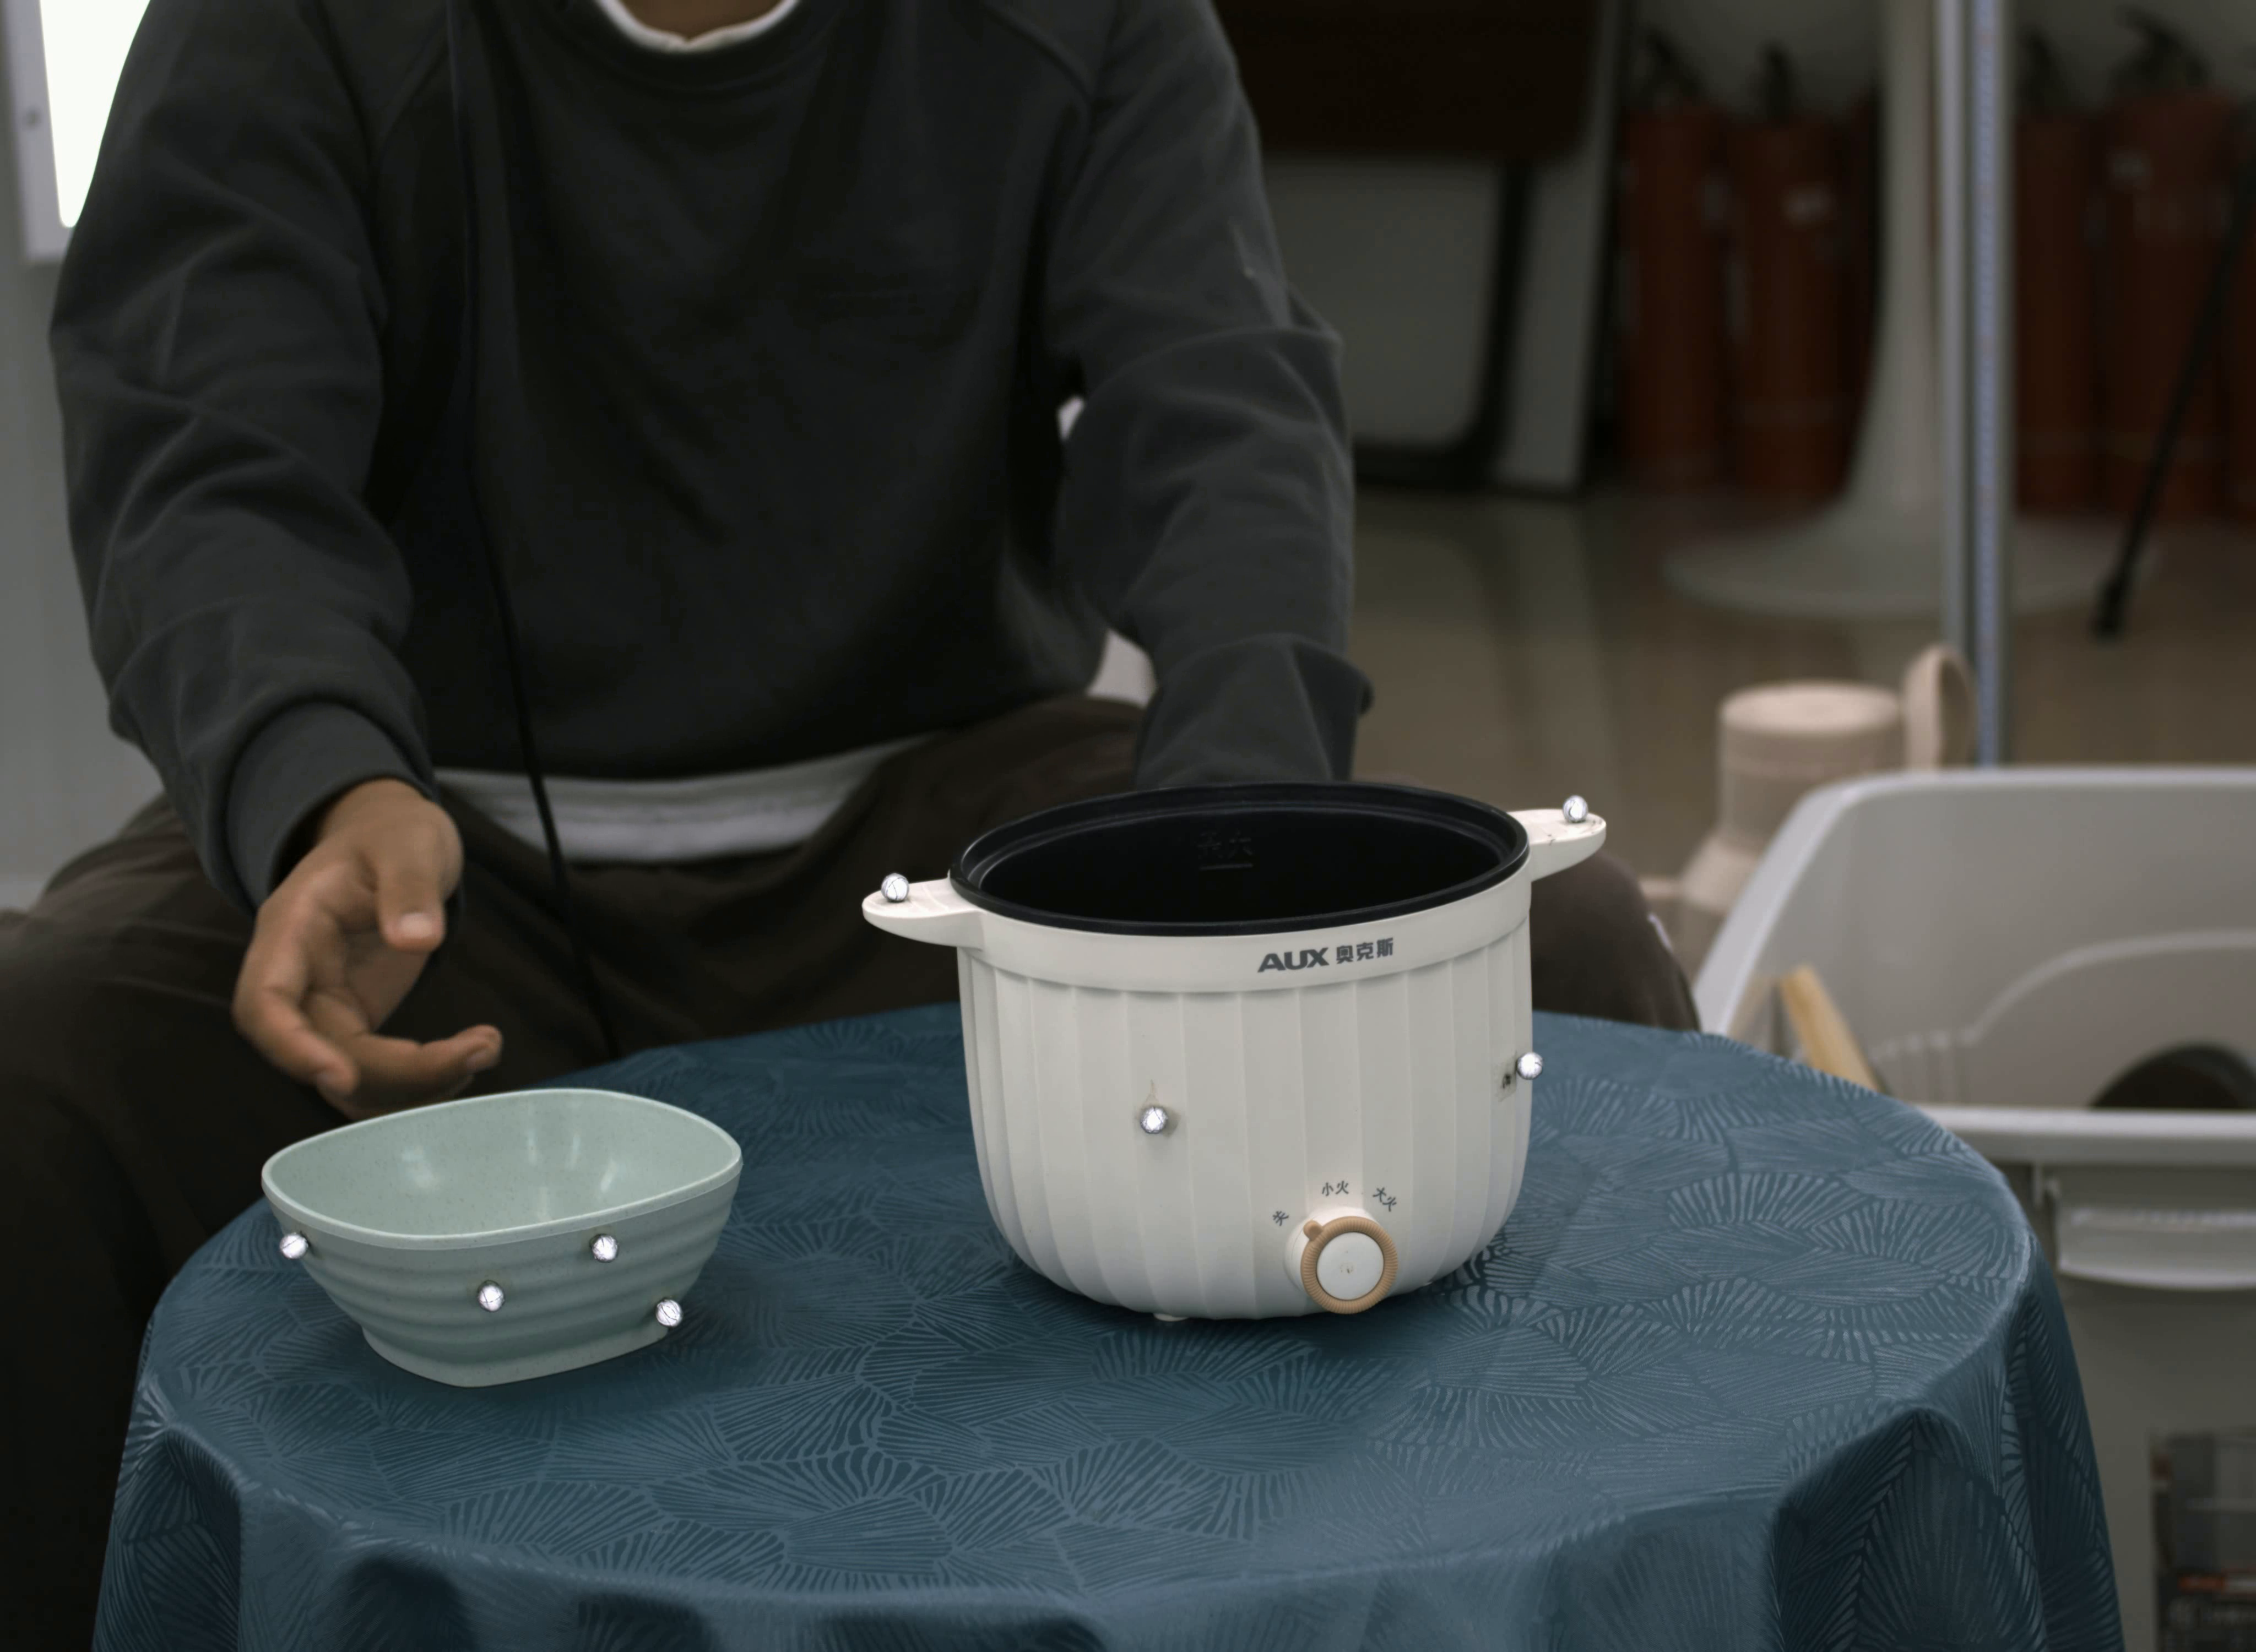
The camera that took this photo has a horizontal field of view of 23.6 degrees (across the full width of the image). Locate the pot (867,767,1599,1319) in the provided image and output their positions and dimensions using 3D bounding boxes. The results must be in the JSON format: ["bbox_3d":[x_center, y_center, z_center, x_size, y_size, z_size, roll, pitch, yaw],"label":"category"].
[{"bbox_3d":[0.041,0.069,1.676,0.236,0.144,0.192,-9,11,-14],"label":"pot"}]

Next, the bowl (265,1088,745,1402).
[{"bbox_3d":[-0.190,0.132,1.666,0.149,0.059,0.152,-3,15,0],"label":"bowl"}]
